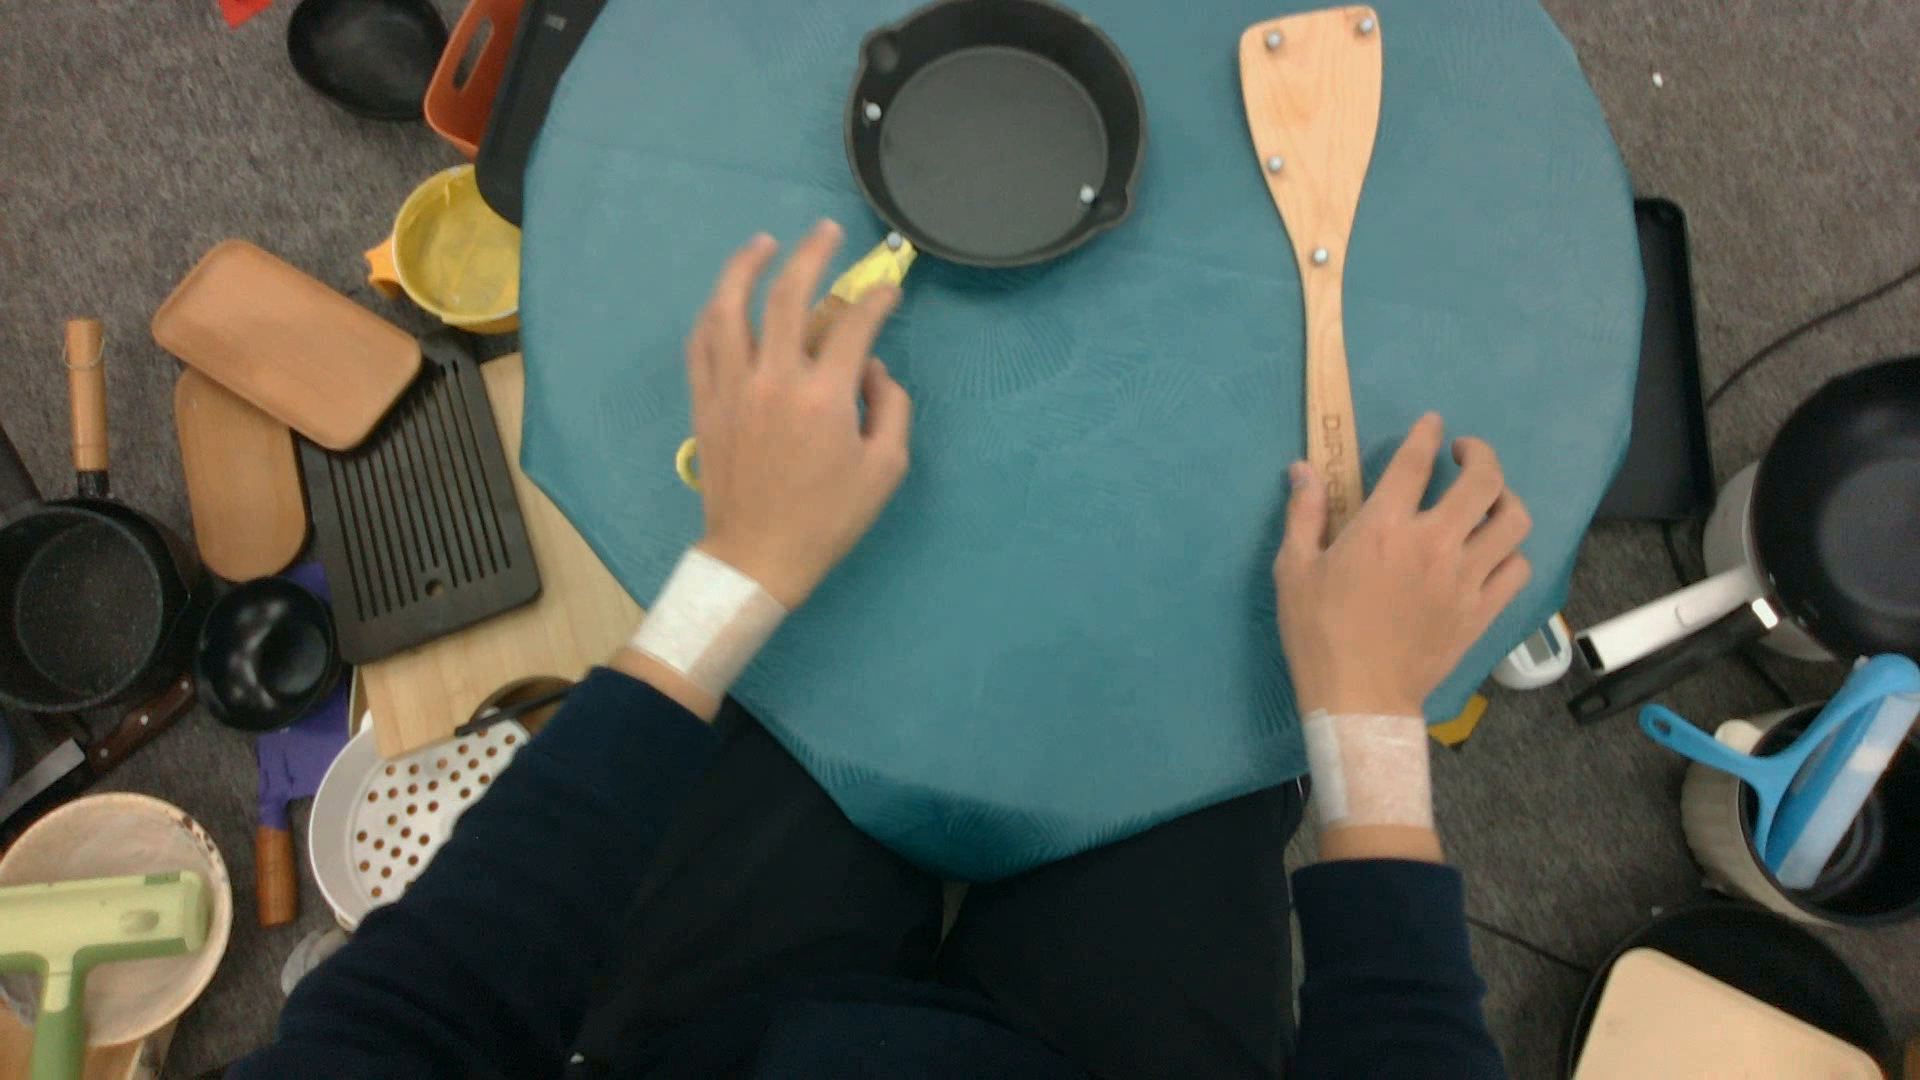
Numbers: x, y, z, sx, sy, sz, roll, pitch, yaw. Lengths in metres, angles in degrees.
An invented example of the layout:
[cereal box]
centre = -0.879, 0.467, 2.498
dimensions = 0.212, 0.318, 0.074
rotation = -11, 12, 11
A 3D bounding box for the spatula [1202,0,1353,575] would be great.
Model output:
[spatula]
centre = 0.179, -0.144, 0.728
dimensions = 0.080, 0.016, 0.328
rotation = -3, 79, -1

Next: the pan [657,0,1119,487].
[pan]
centre = -0.047, -0.155, 0.706
dimensions = 0.169, 0.049, 0.325
rotation = 37, 79, 5
